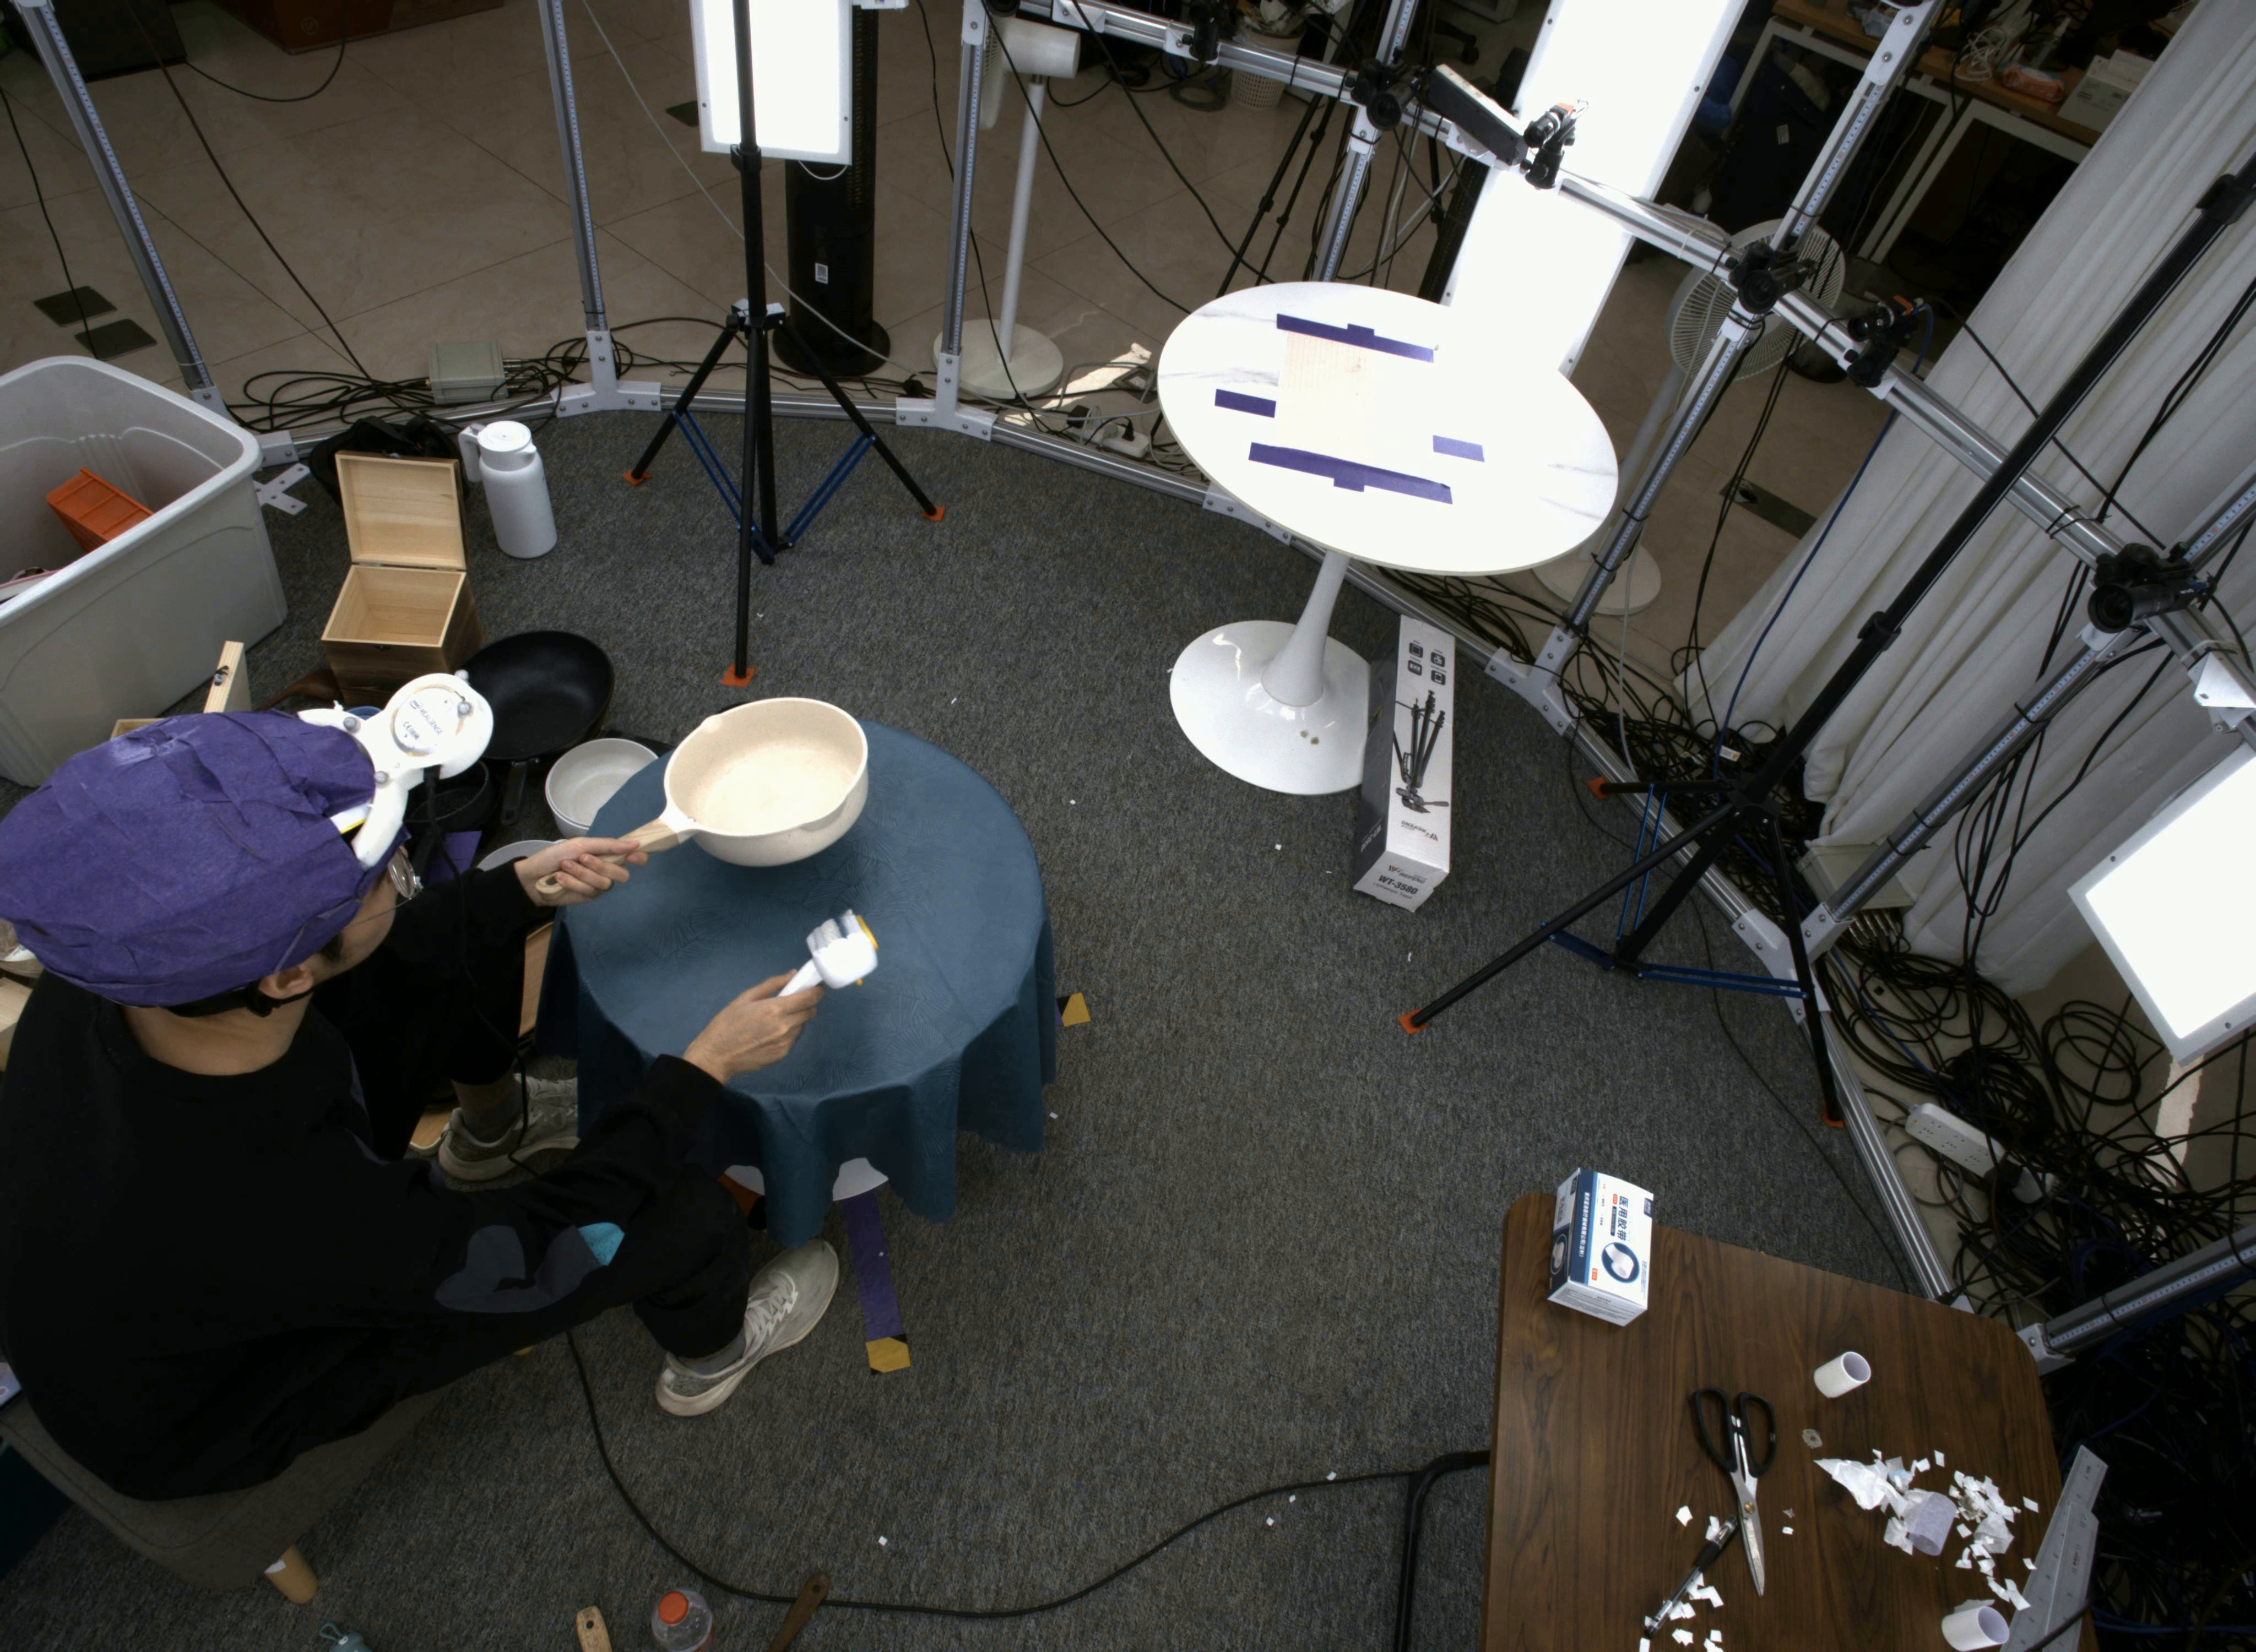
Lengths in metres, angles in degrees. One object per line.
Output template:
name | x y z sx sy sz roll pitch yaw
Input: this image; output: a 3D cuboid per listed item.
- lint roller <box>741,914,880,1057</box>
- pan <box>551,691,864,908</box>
lint roller | -0.367 0.179 1.464 0.192 0.188 0.076 -36 108 -9
pan | -0.512 -0.009 1.573 0.255 0.105 0.435 35 56 26
